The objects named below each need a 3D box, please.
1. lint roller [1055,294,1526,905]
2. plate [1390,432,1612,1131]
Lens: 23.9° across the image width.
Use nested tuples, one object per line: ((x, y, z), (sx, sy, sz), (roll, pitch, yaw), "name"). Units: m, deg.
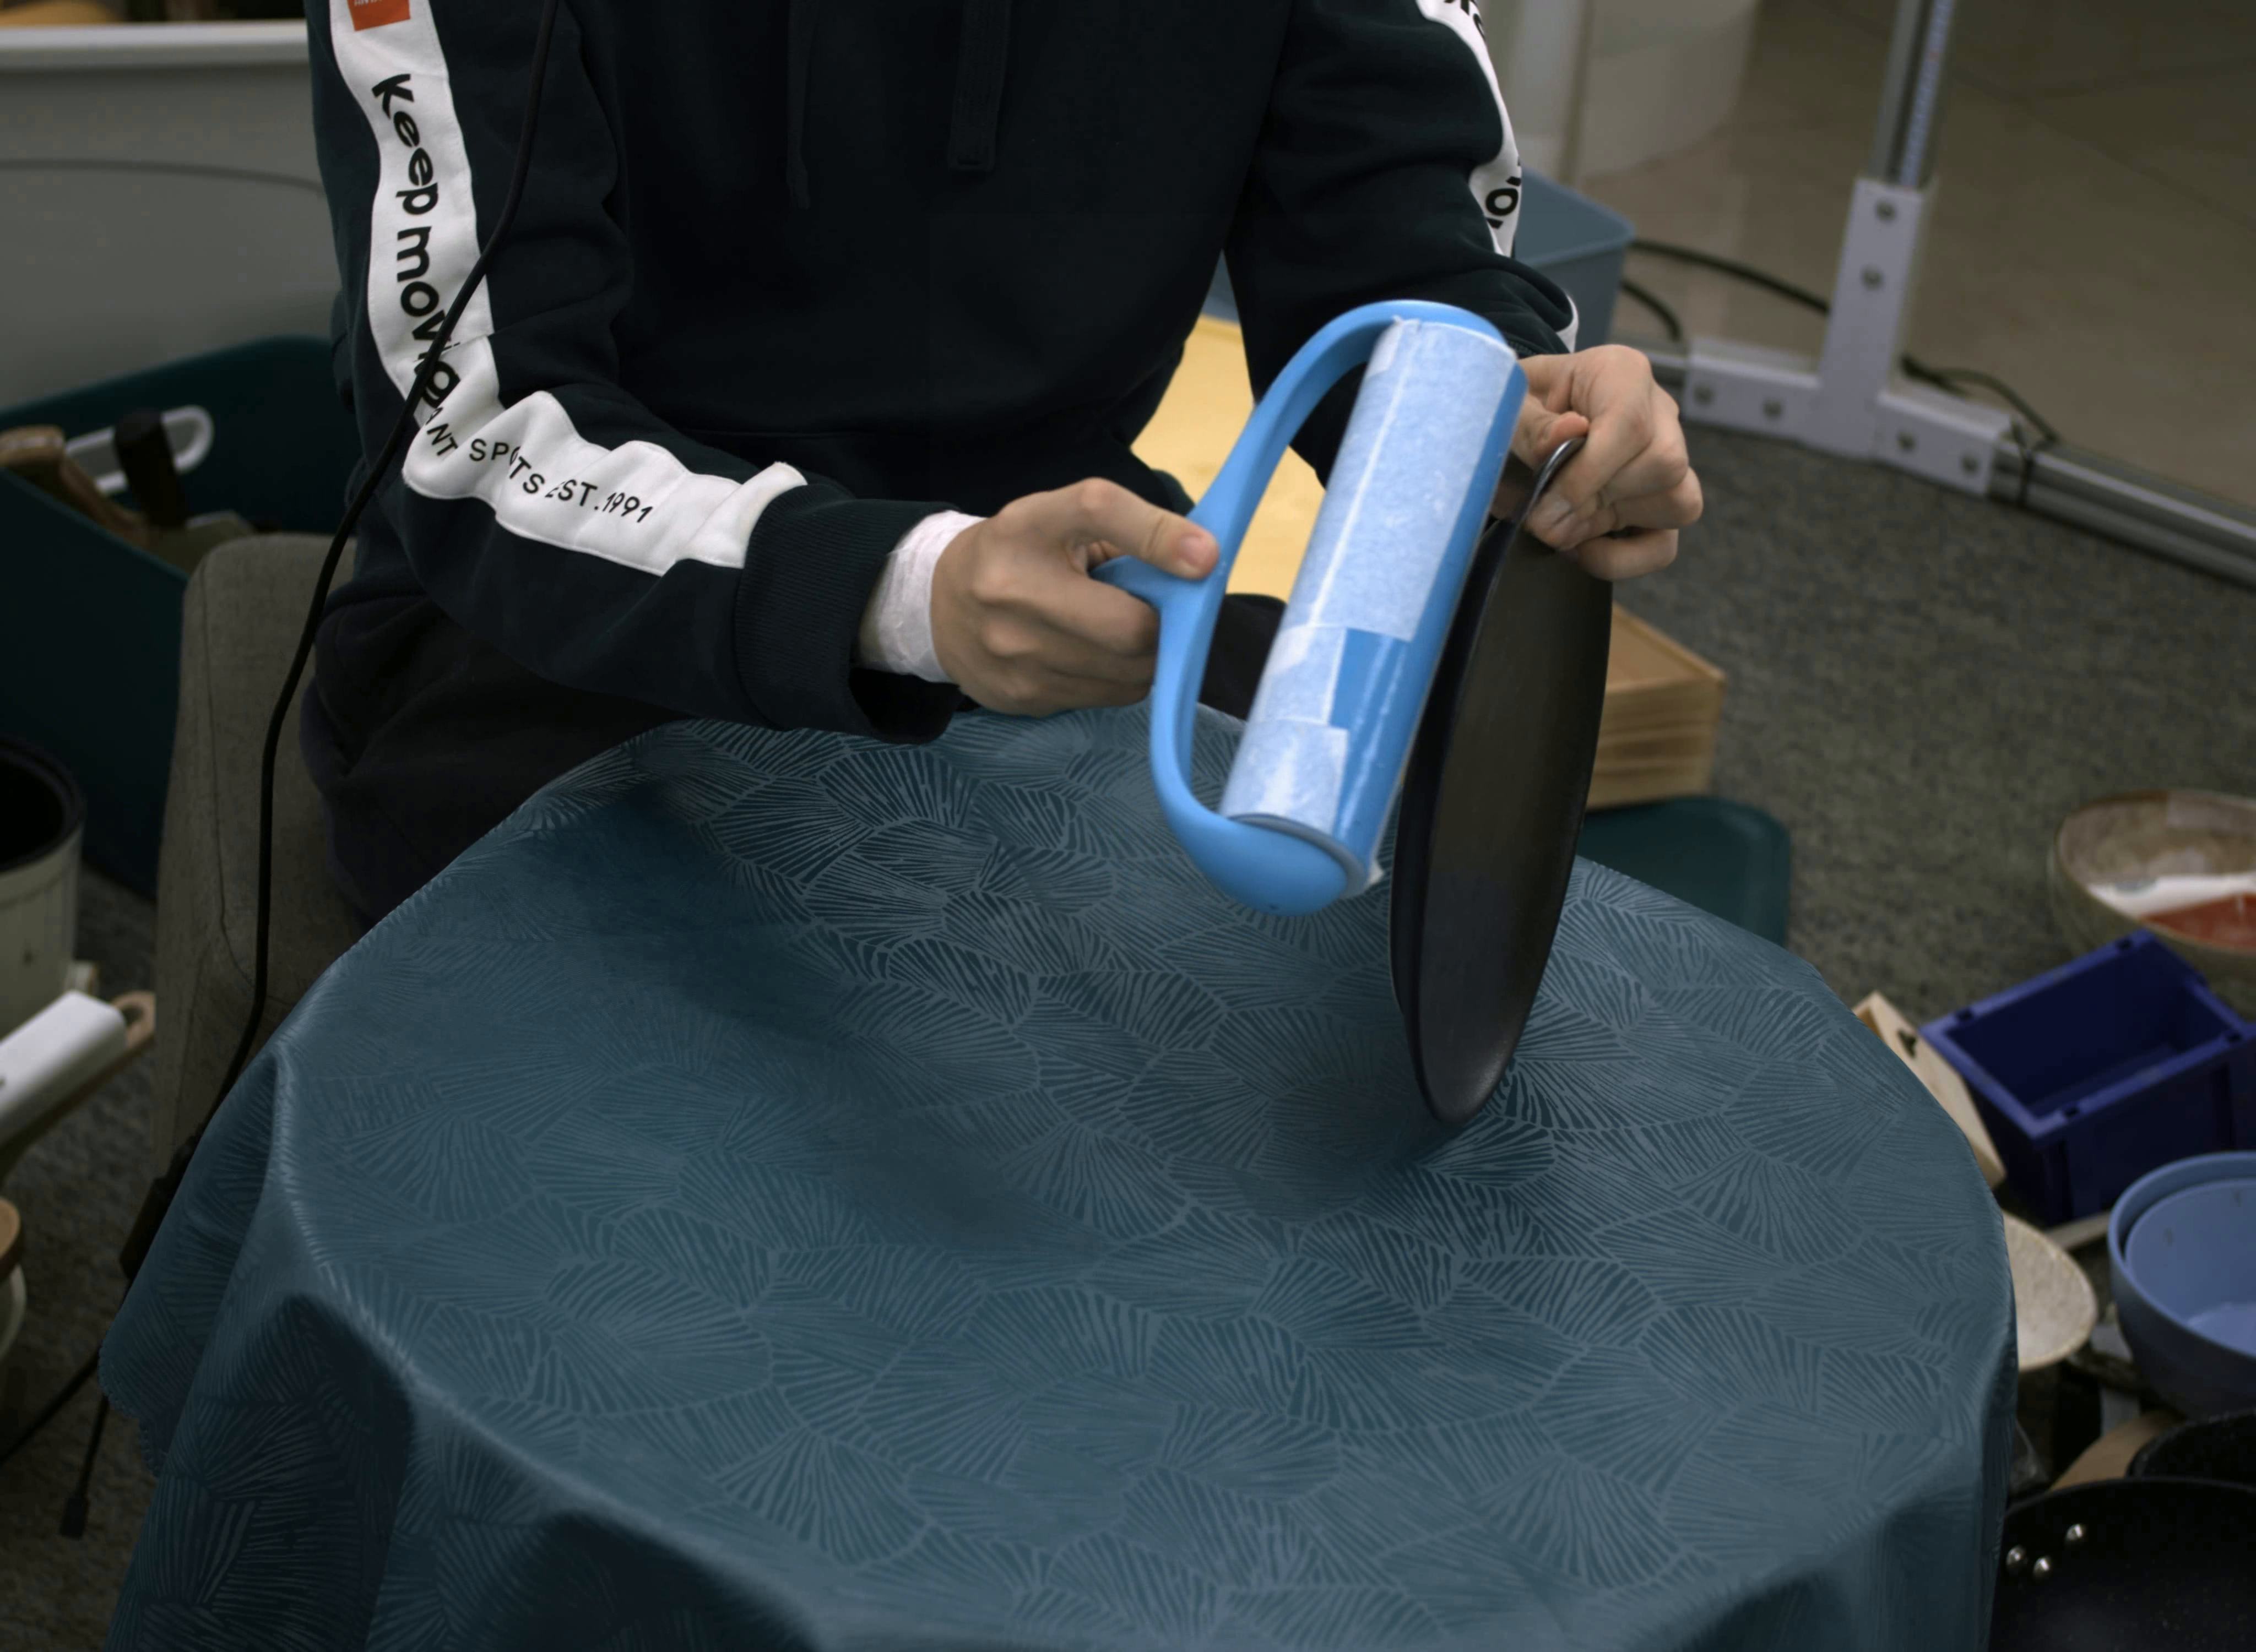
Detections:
((0.032, -0.071, 1.775), (0.181, 0.067, 0.230), (-7, 55, 38), "lint roller")
((0.127, -0.017, 1.839), (0.023, 0.243, 0.244), (11, 26, 16), "plate")
